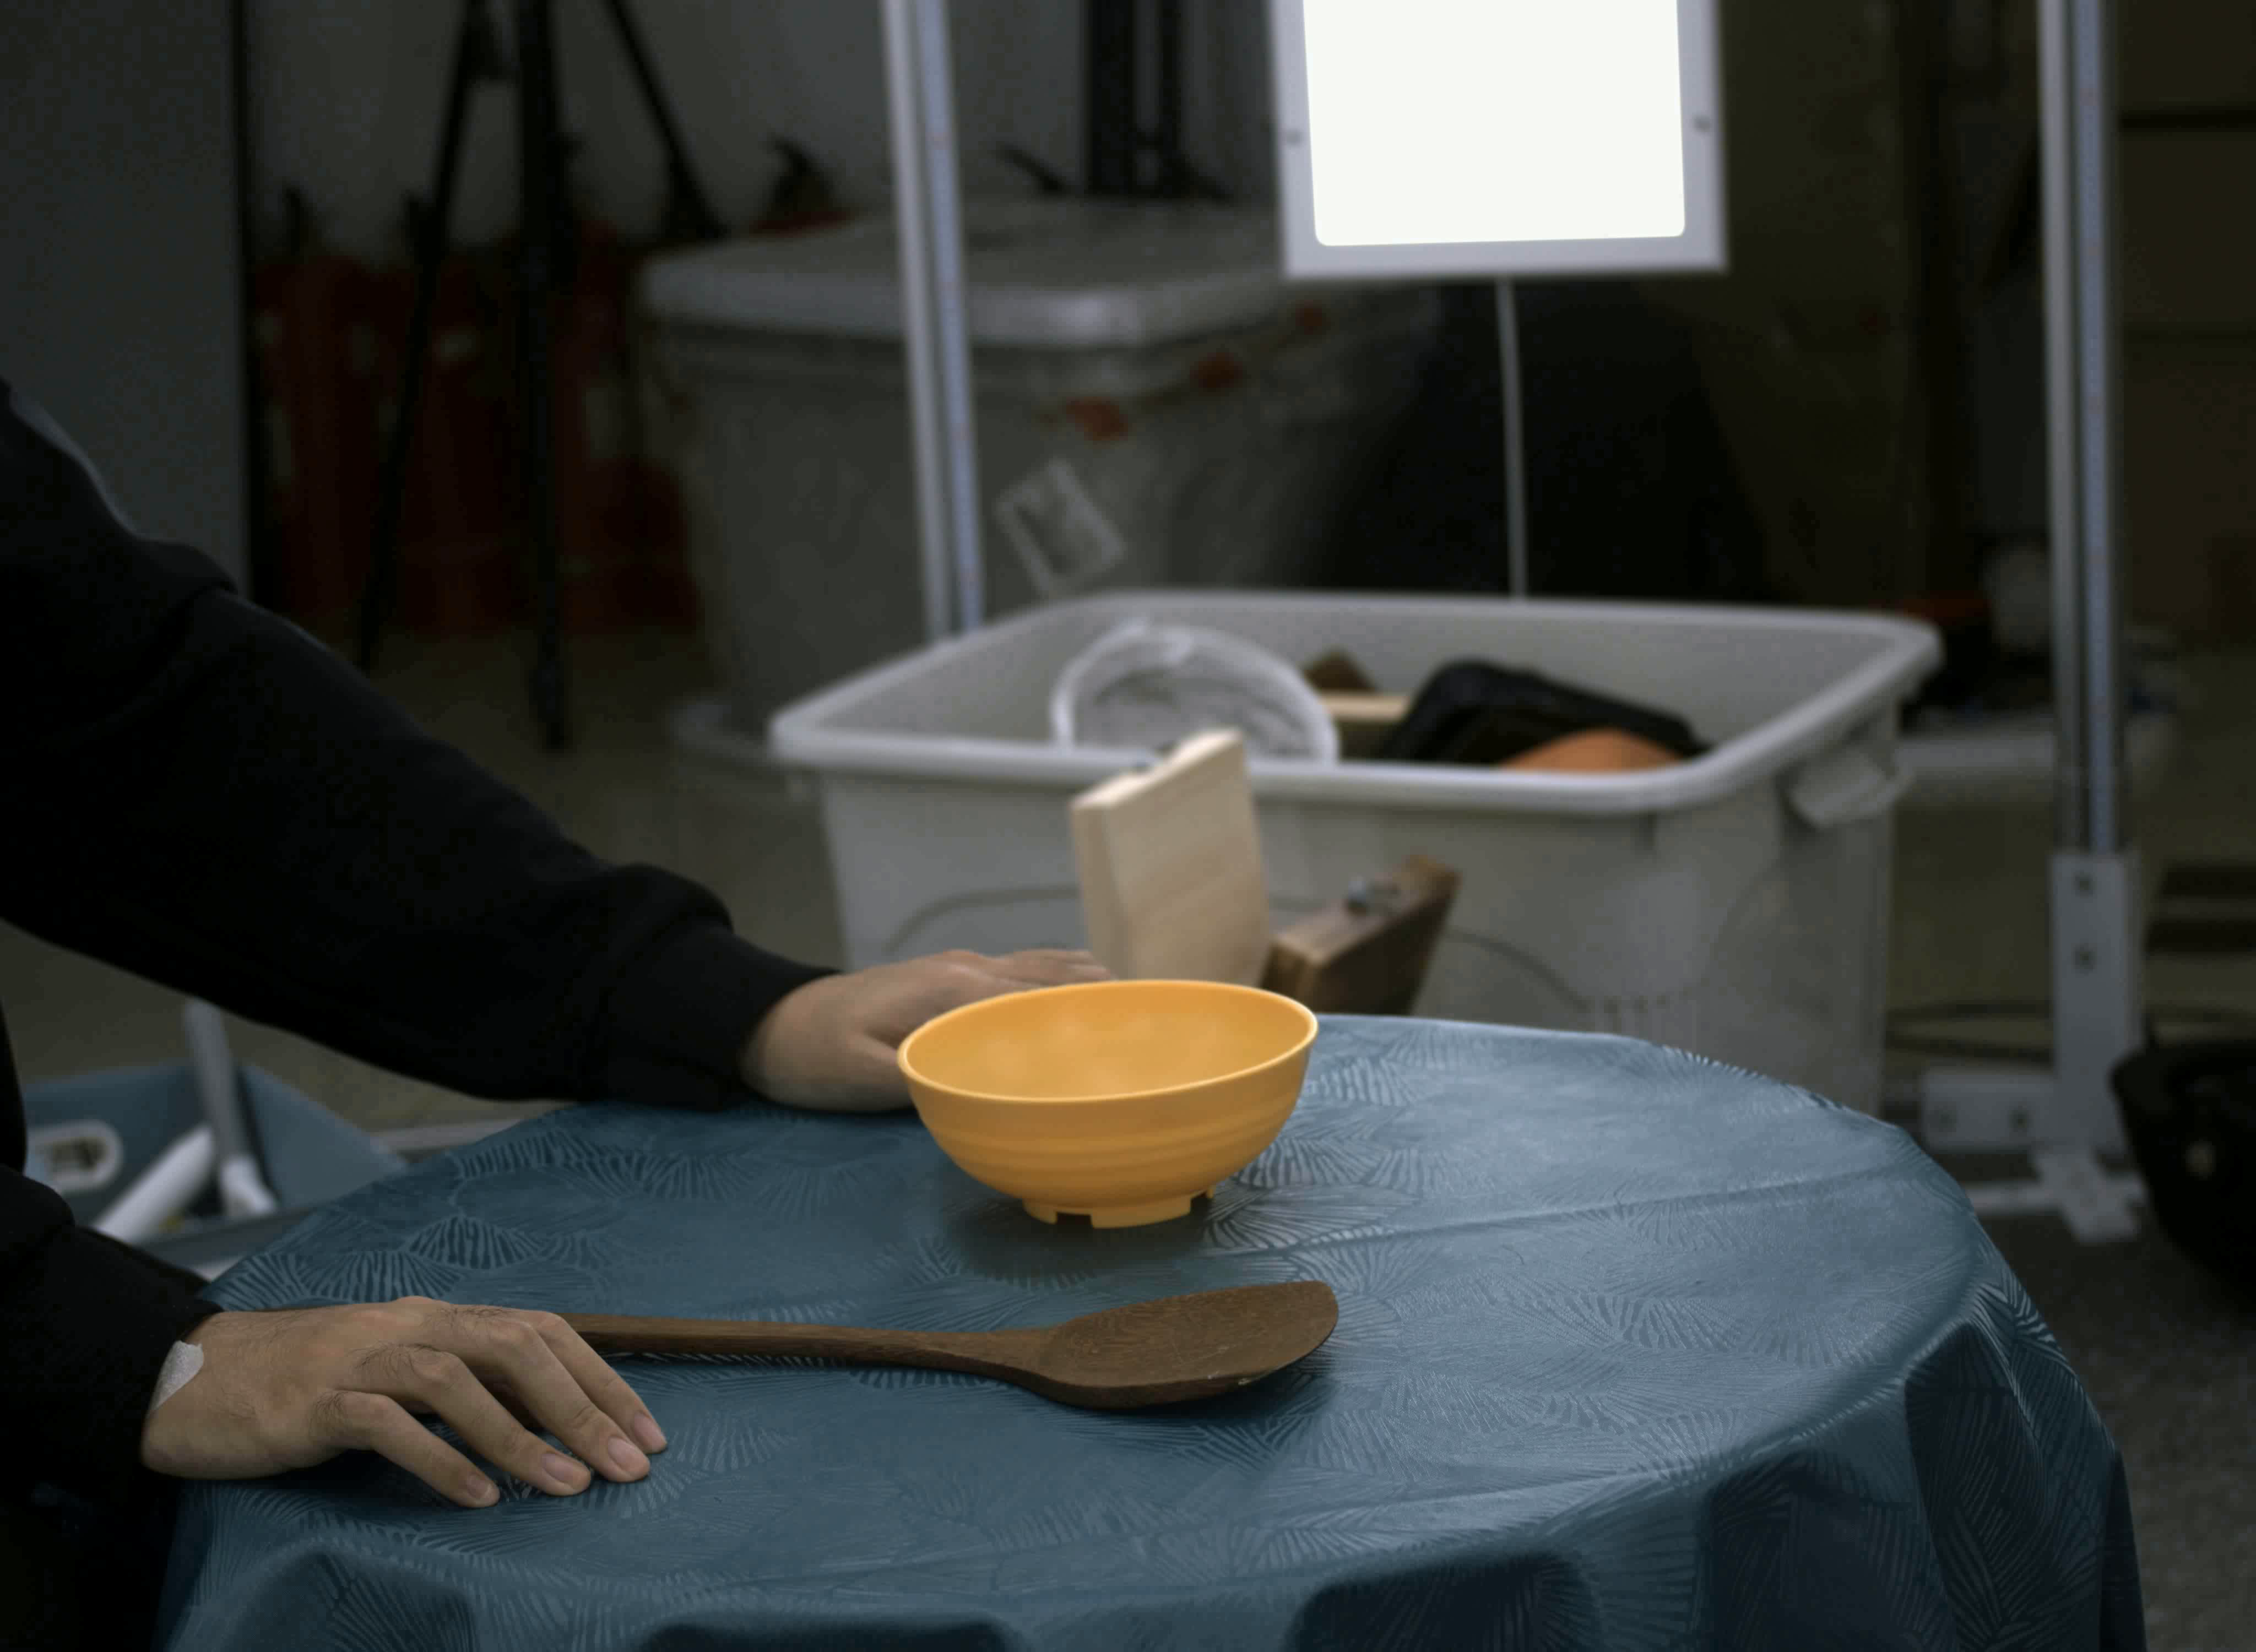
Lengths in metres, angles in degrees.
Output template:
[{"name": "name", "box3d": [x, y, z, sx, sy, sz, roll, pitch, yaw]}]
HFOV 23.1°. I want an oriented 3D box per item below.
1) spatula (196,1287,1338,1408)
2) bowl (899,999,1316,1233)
[{"name": "spatula", "box3d": [-0.122, 0.164, 1.761, 0.390, 0.016, 0.094, -1, 14, 19]}, {"name": "bowl", "box3d": [-0.005, 0.102, 1.883, 0.145, 0.060, 0.145, -5, 11, 0]}]
